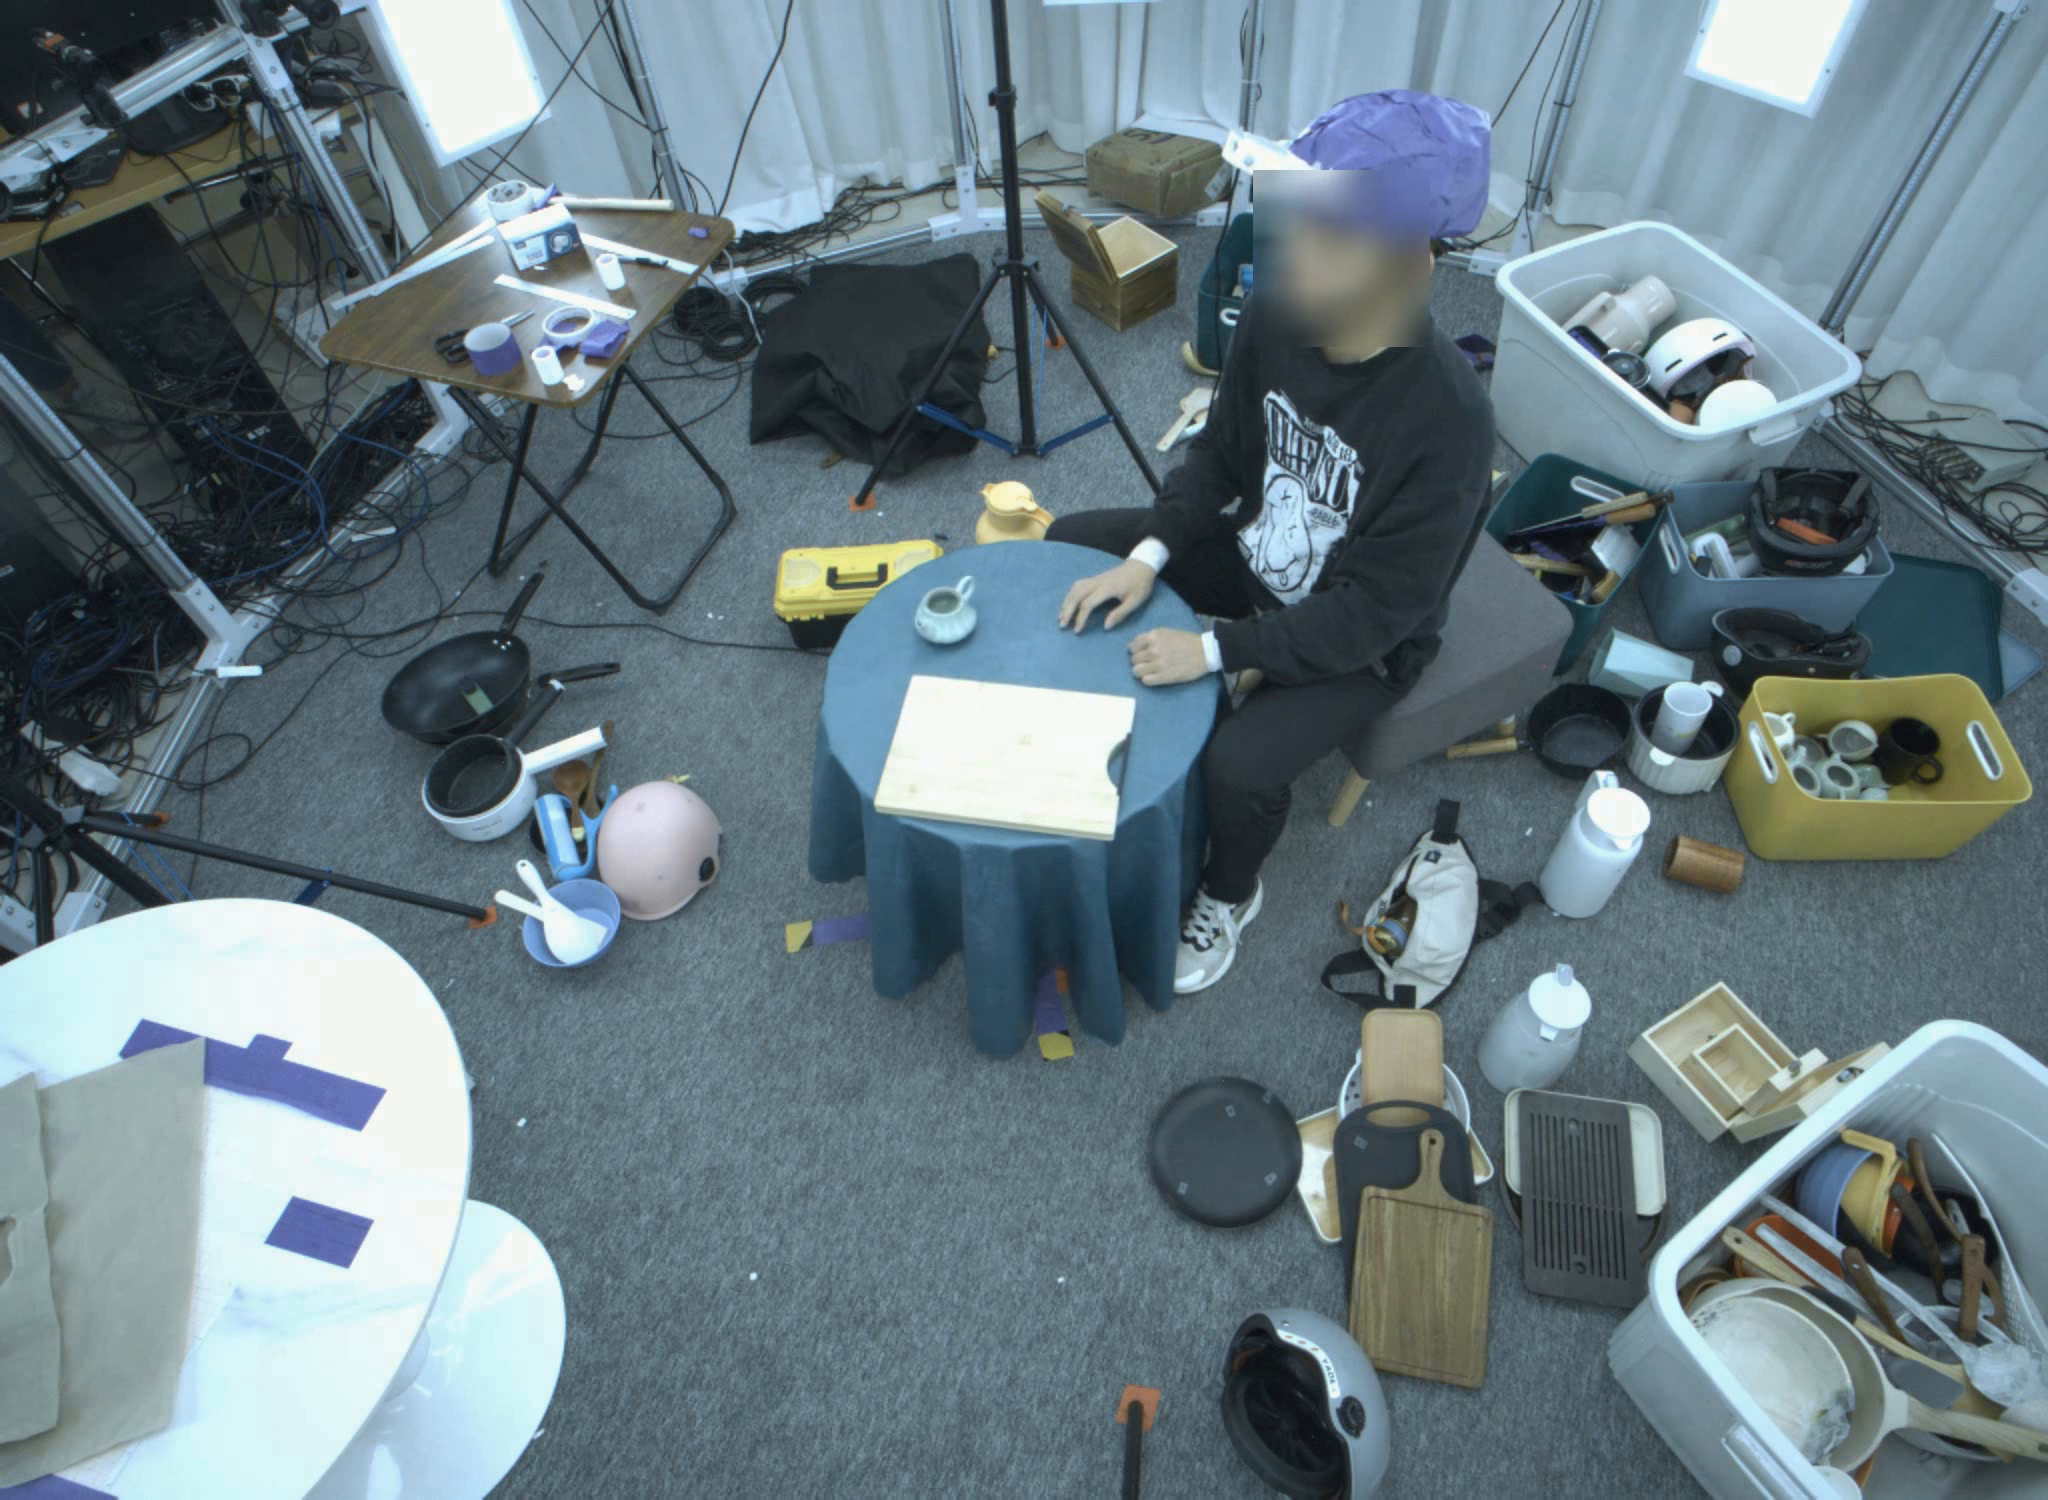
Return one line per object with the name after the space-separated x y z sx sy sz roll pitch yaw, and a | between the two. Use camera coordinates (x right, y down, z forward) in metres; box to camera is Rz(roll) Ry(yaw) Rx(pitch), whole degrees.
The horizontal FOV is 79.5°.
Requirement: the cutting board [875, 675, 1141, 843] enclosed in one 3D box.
-0.018 0.007 1.769 0.347 0.024 0.249 6 55 6 | cutting board

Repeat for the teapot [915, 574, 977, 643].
-0.121 -0.216 1.904 0.094 0.062 0.137 27 60 21 | teapot
